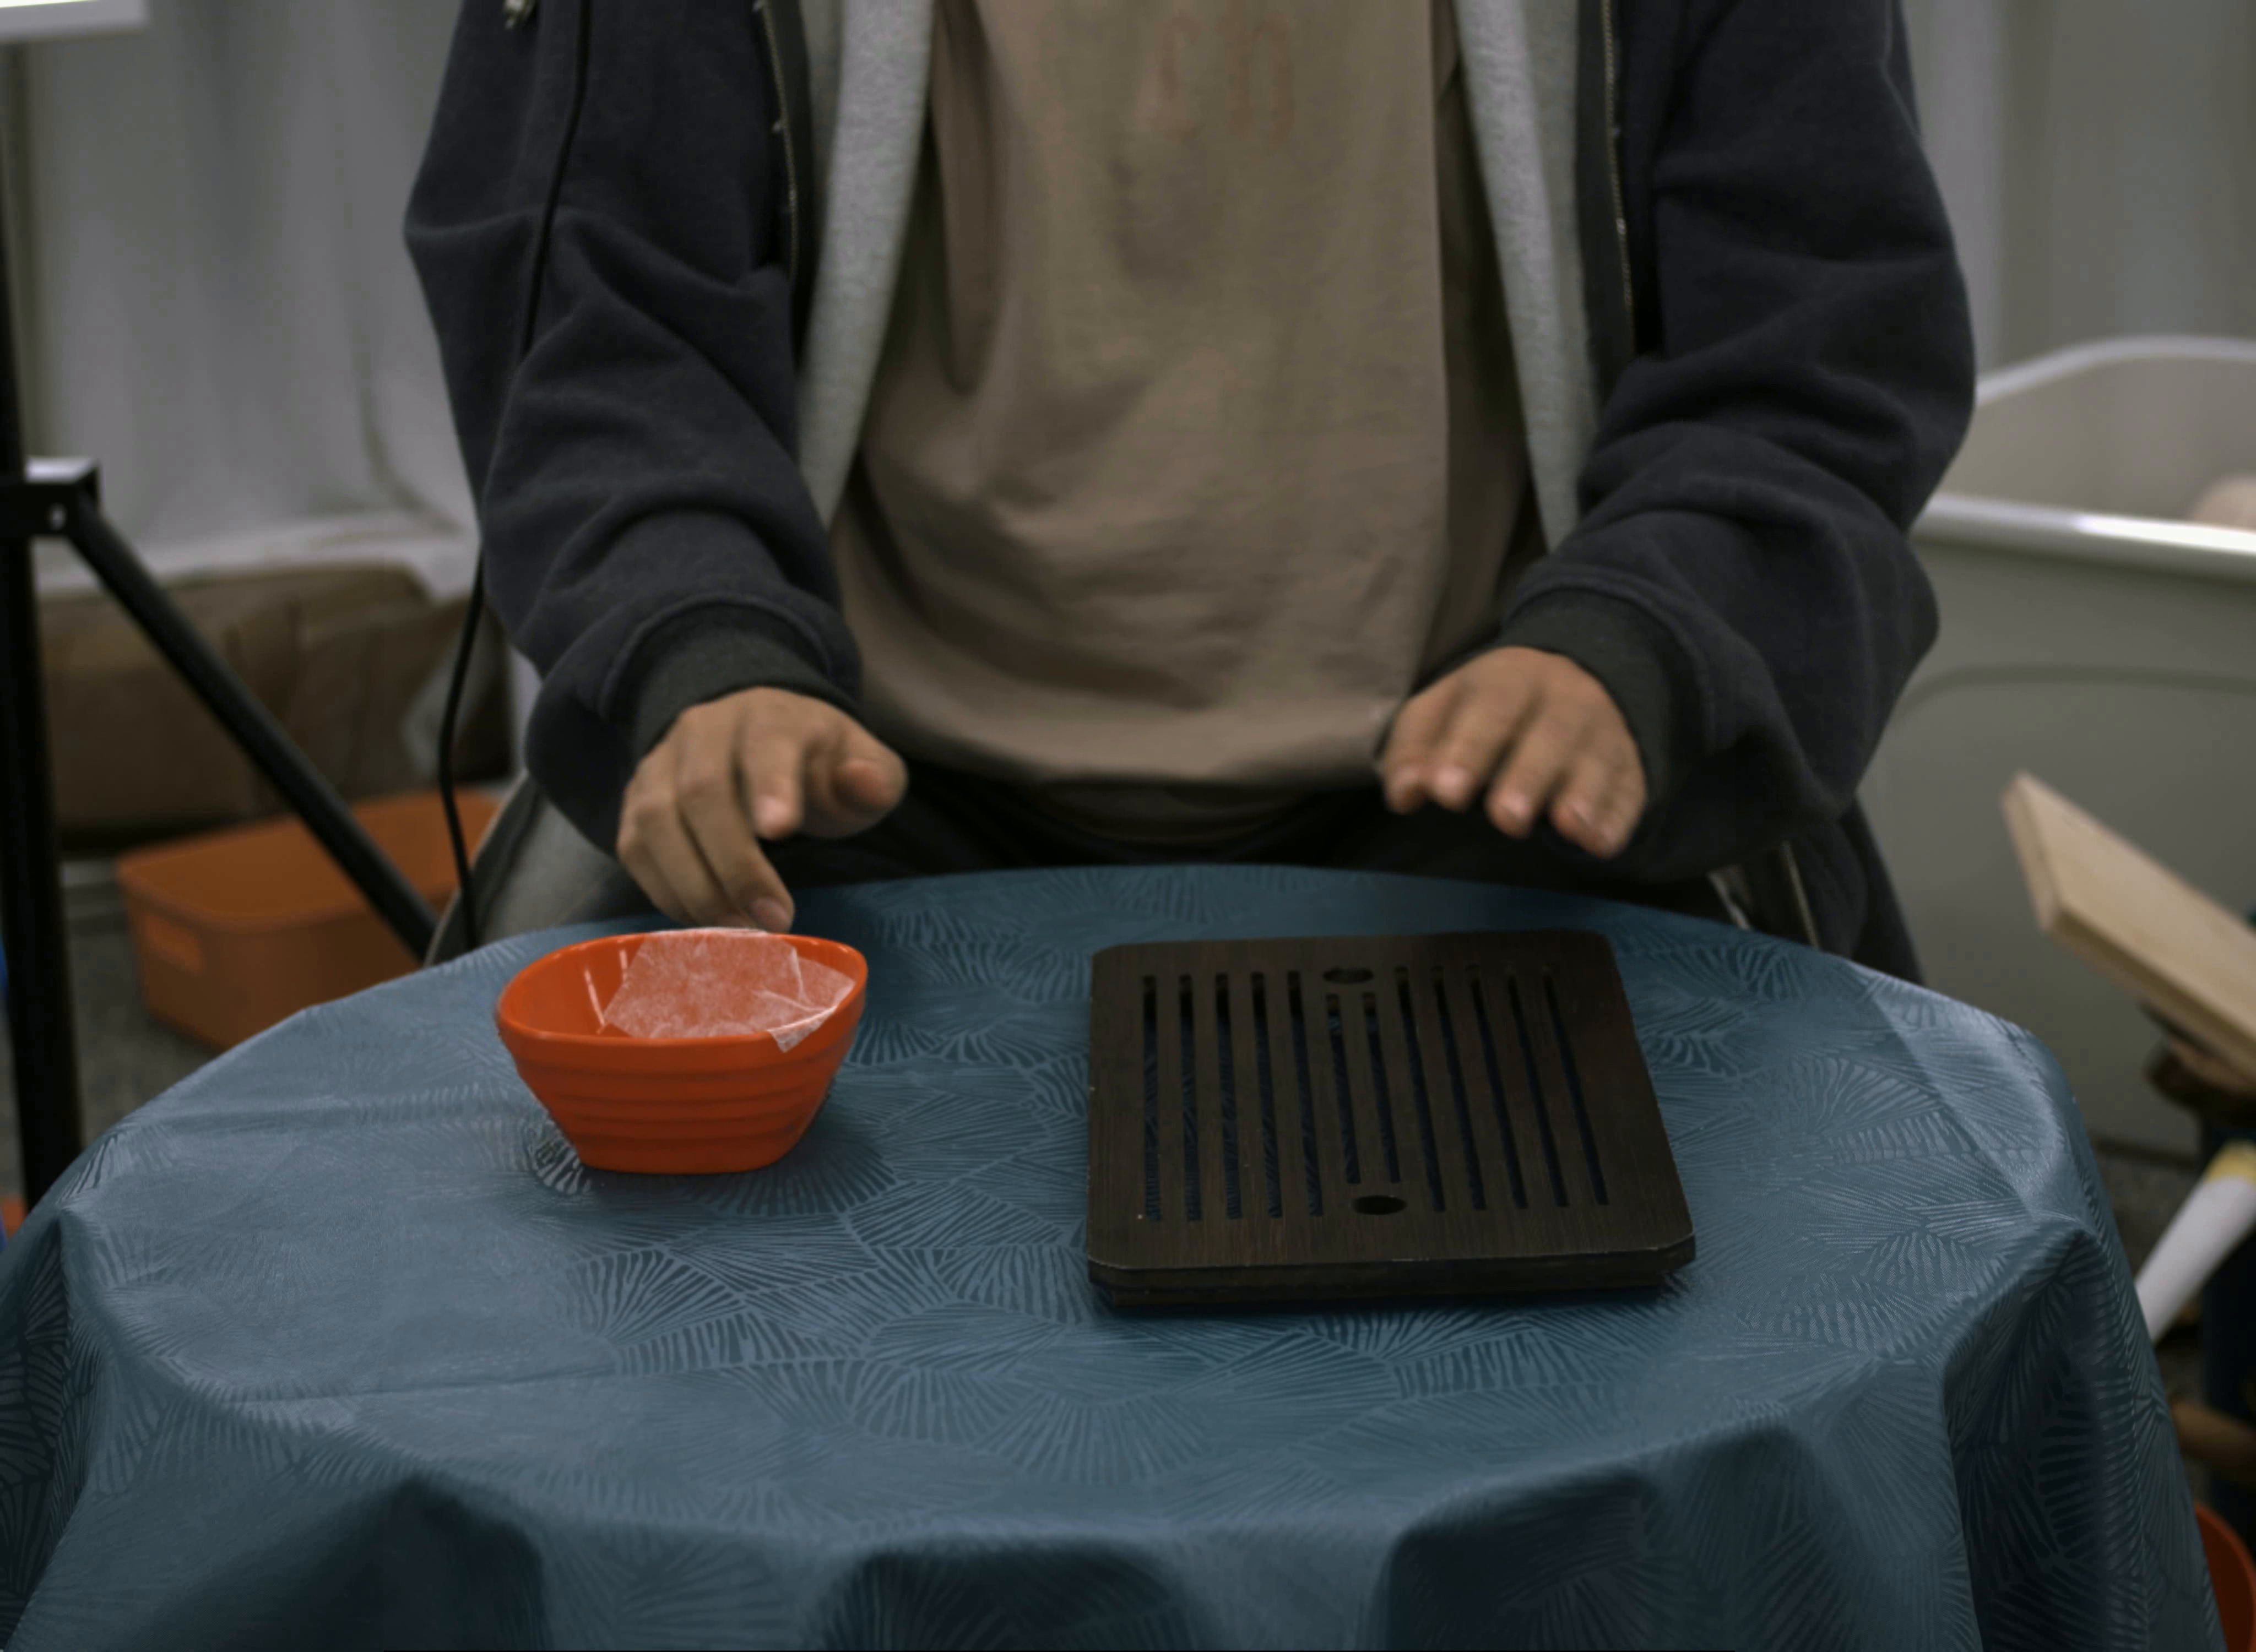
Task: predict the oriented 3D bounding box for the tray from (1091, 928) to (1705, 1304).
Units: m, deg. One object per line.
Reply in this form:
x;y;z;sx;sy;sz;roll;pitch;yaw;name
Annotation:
0.074;0.085;1.596;0.169;0.018;0.307;-3;15;1;tray

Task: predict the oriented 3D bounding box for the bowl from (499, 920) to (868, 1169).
-0.133;0.069;1.620;0.118;0.051;0.119;-4;17;0;bowl
